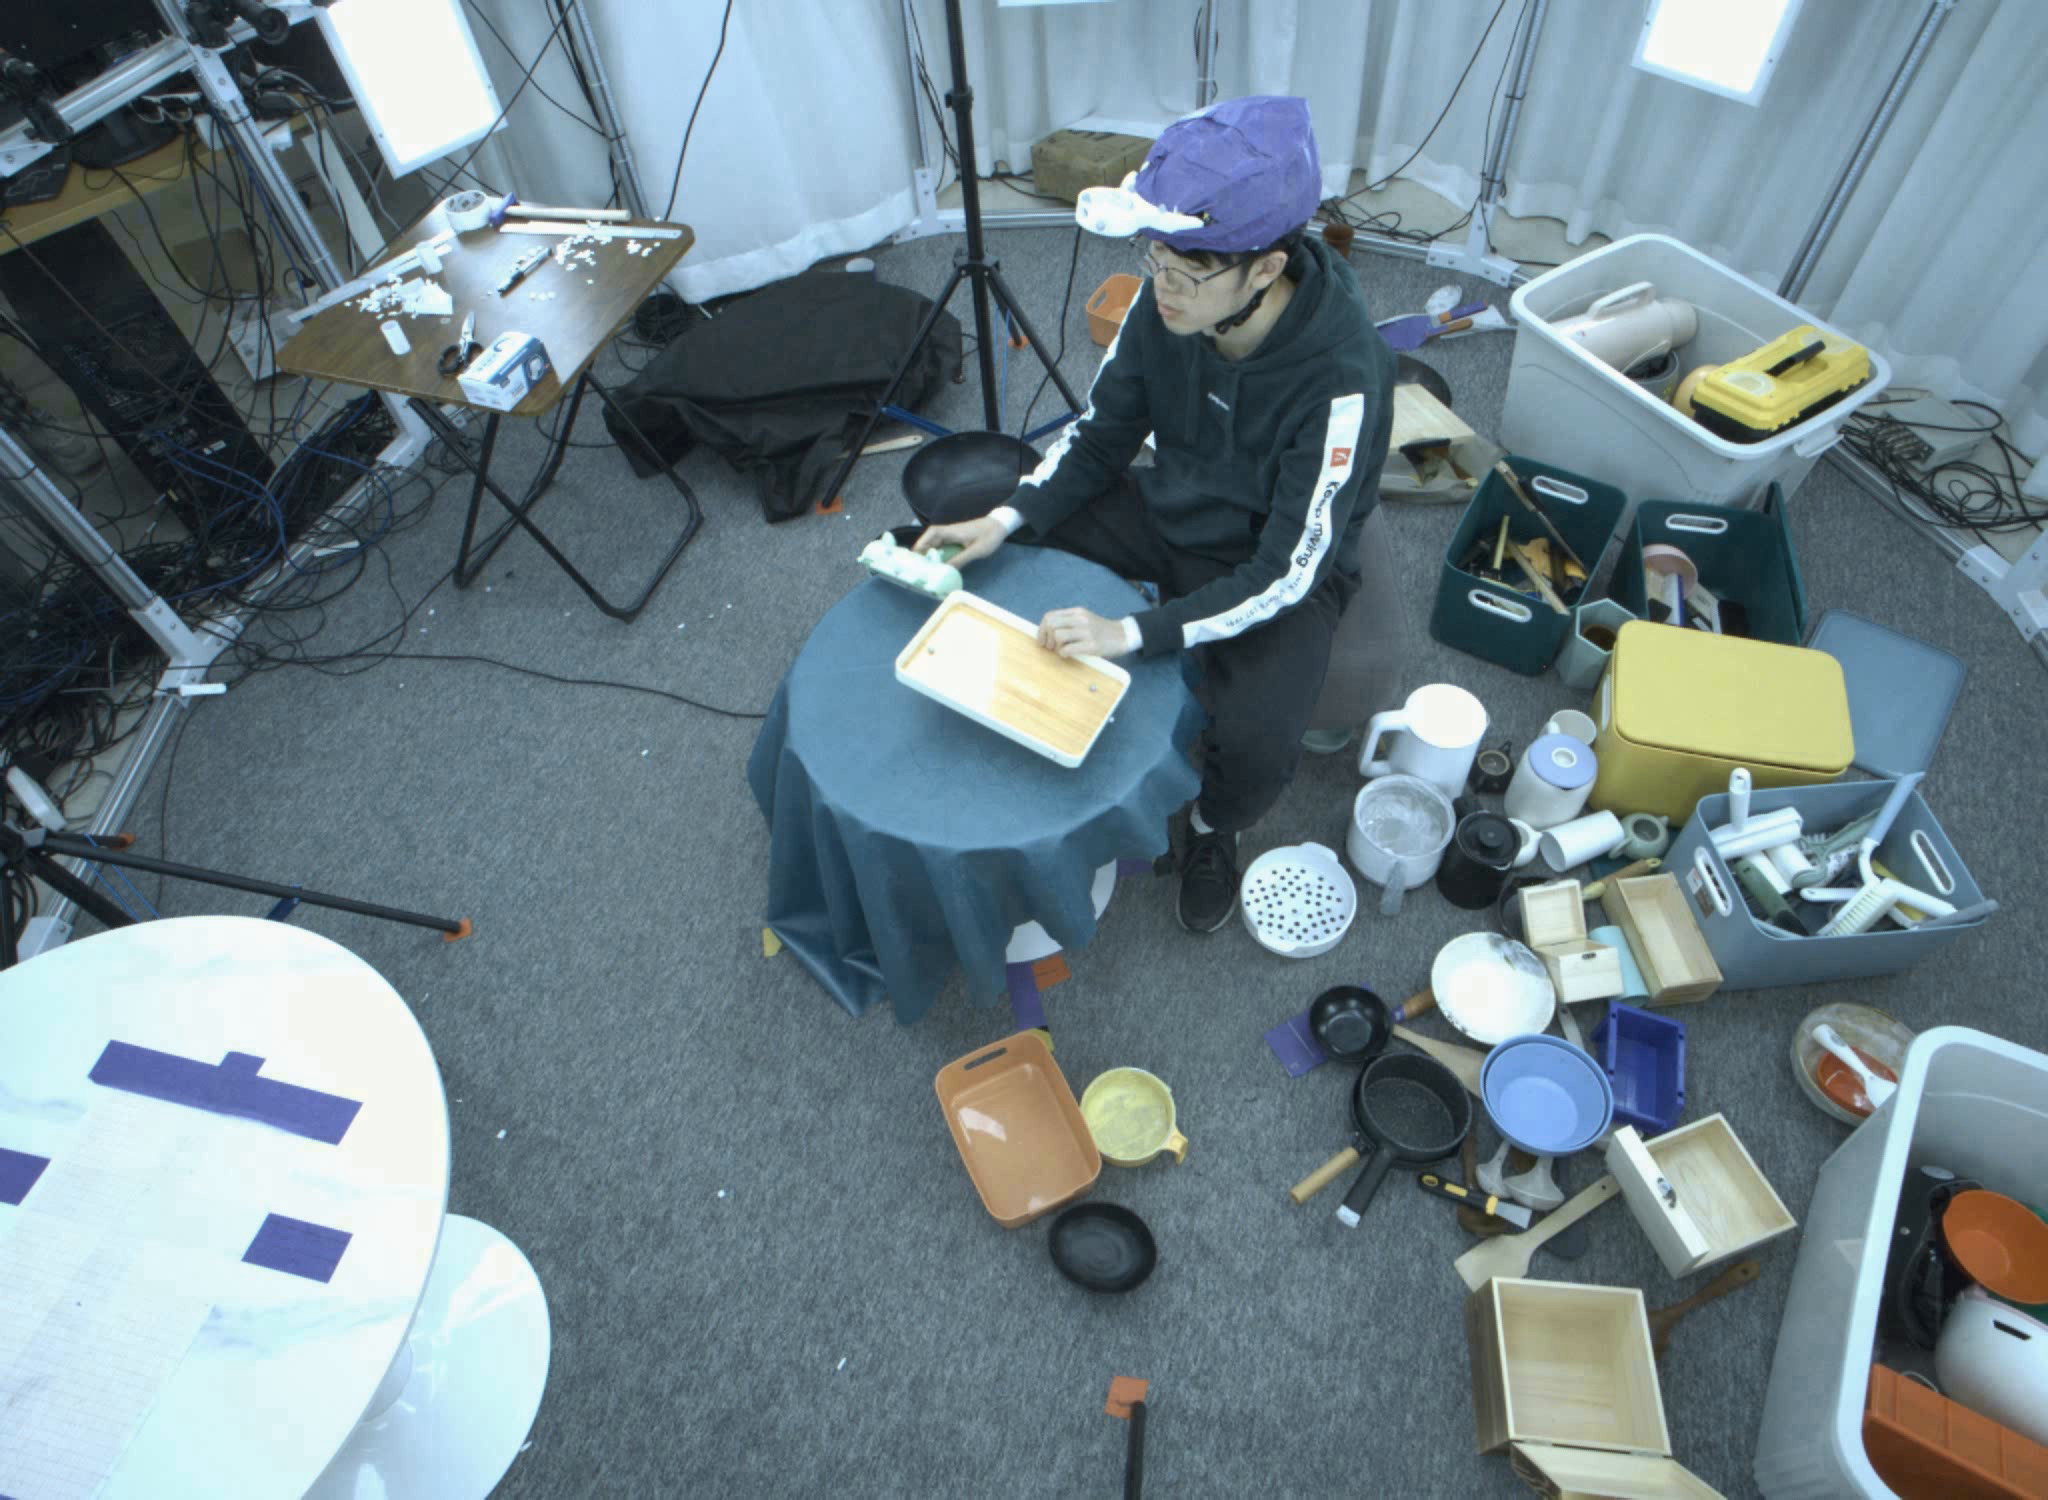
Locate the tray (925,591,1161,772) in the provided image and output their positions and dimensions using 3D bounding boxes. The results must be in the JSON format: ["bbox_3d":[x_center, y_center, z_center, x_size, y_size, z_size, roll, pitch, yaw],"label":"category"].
[{"bbox_3d":[0.028,-0.102,1.750,0.298,0.027,0.192,29,53,7],"label":"tray"}]

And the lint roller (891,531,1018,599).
[{"bbox_3d":[-0.087,-0.315,1.925,0.185,0.083,0.194,-34,41,-28],"label":"lint roller"}]
